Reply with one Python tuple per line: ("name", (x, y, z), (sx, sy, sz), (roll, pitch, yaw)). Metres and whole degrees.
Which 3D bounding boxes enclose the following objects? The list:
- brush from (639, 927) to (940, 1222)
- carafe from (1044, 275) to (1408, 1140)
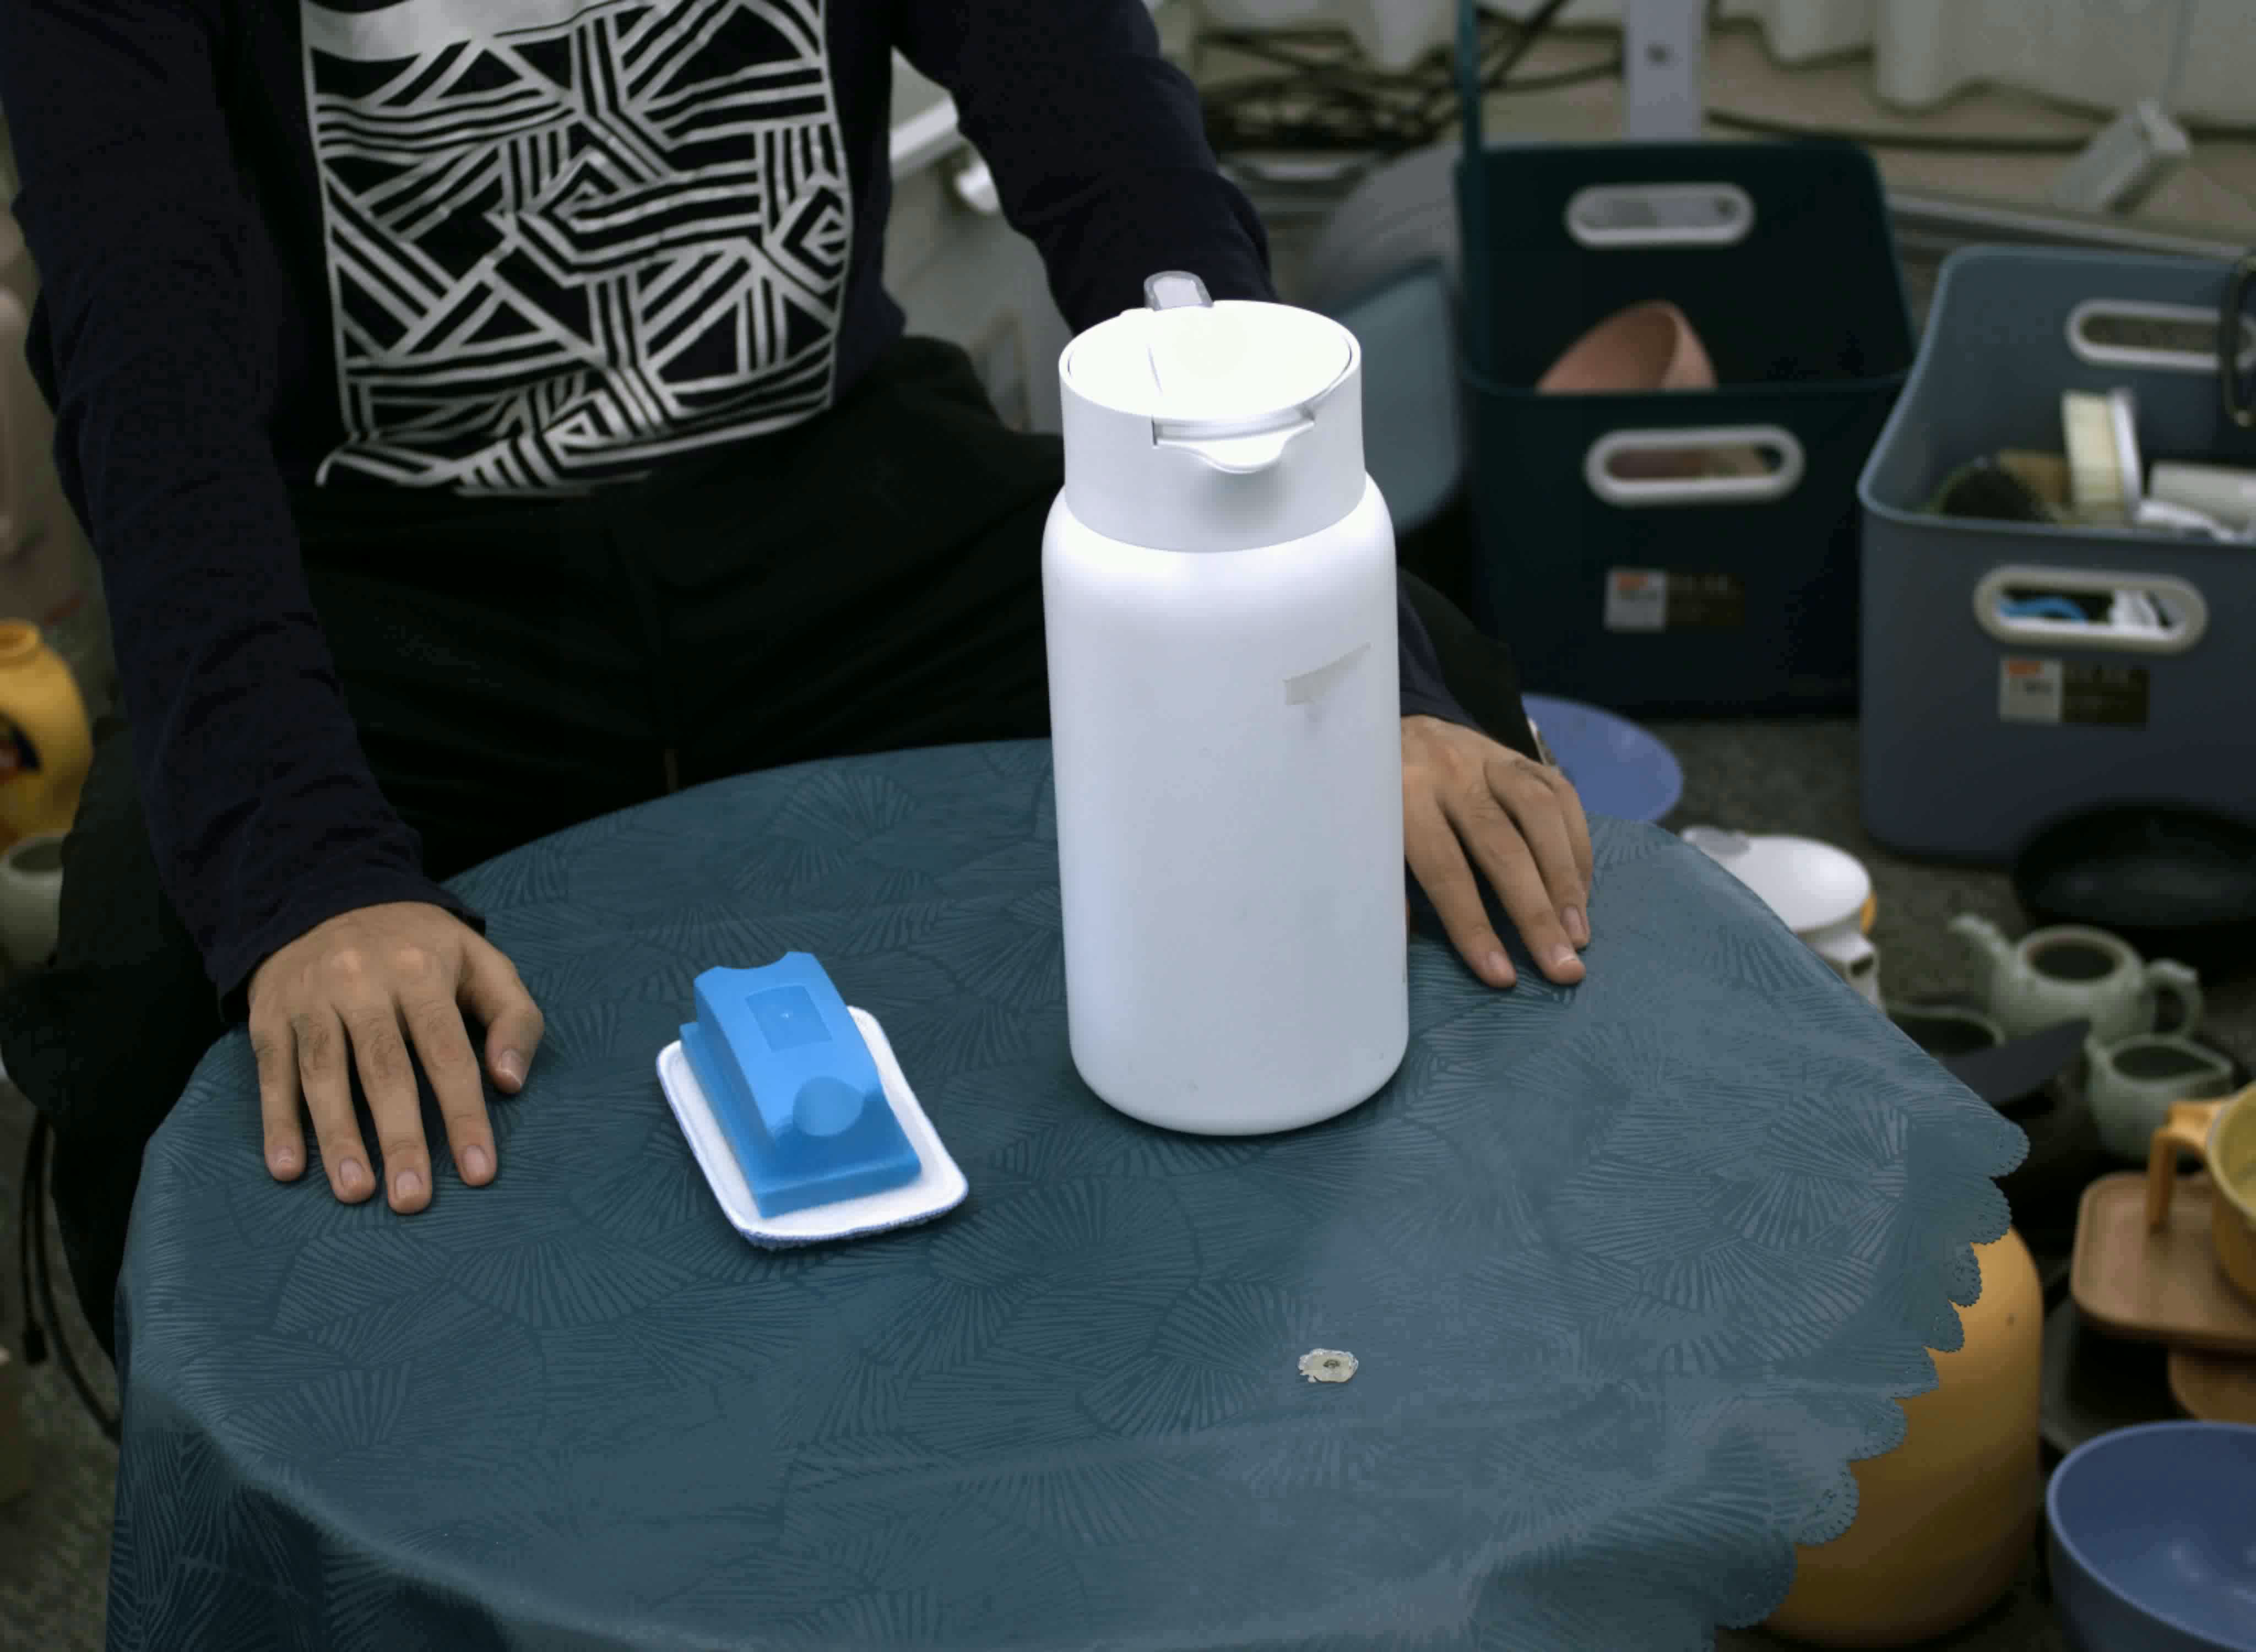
("brush", (-0.113, 0.079, 1.886), (0.084, 0.055, 0.145), (-7, 30, -14))
("carafe", (0.028, -0.043, 1.890), (0.124, 0.266, 0.174), (-9, 26, -9))
